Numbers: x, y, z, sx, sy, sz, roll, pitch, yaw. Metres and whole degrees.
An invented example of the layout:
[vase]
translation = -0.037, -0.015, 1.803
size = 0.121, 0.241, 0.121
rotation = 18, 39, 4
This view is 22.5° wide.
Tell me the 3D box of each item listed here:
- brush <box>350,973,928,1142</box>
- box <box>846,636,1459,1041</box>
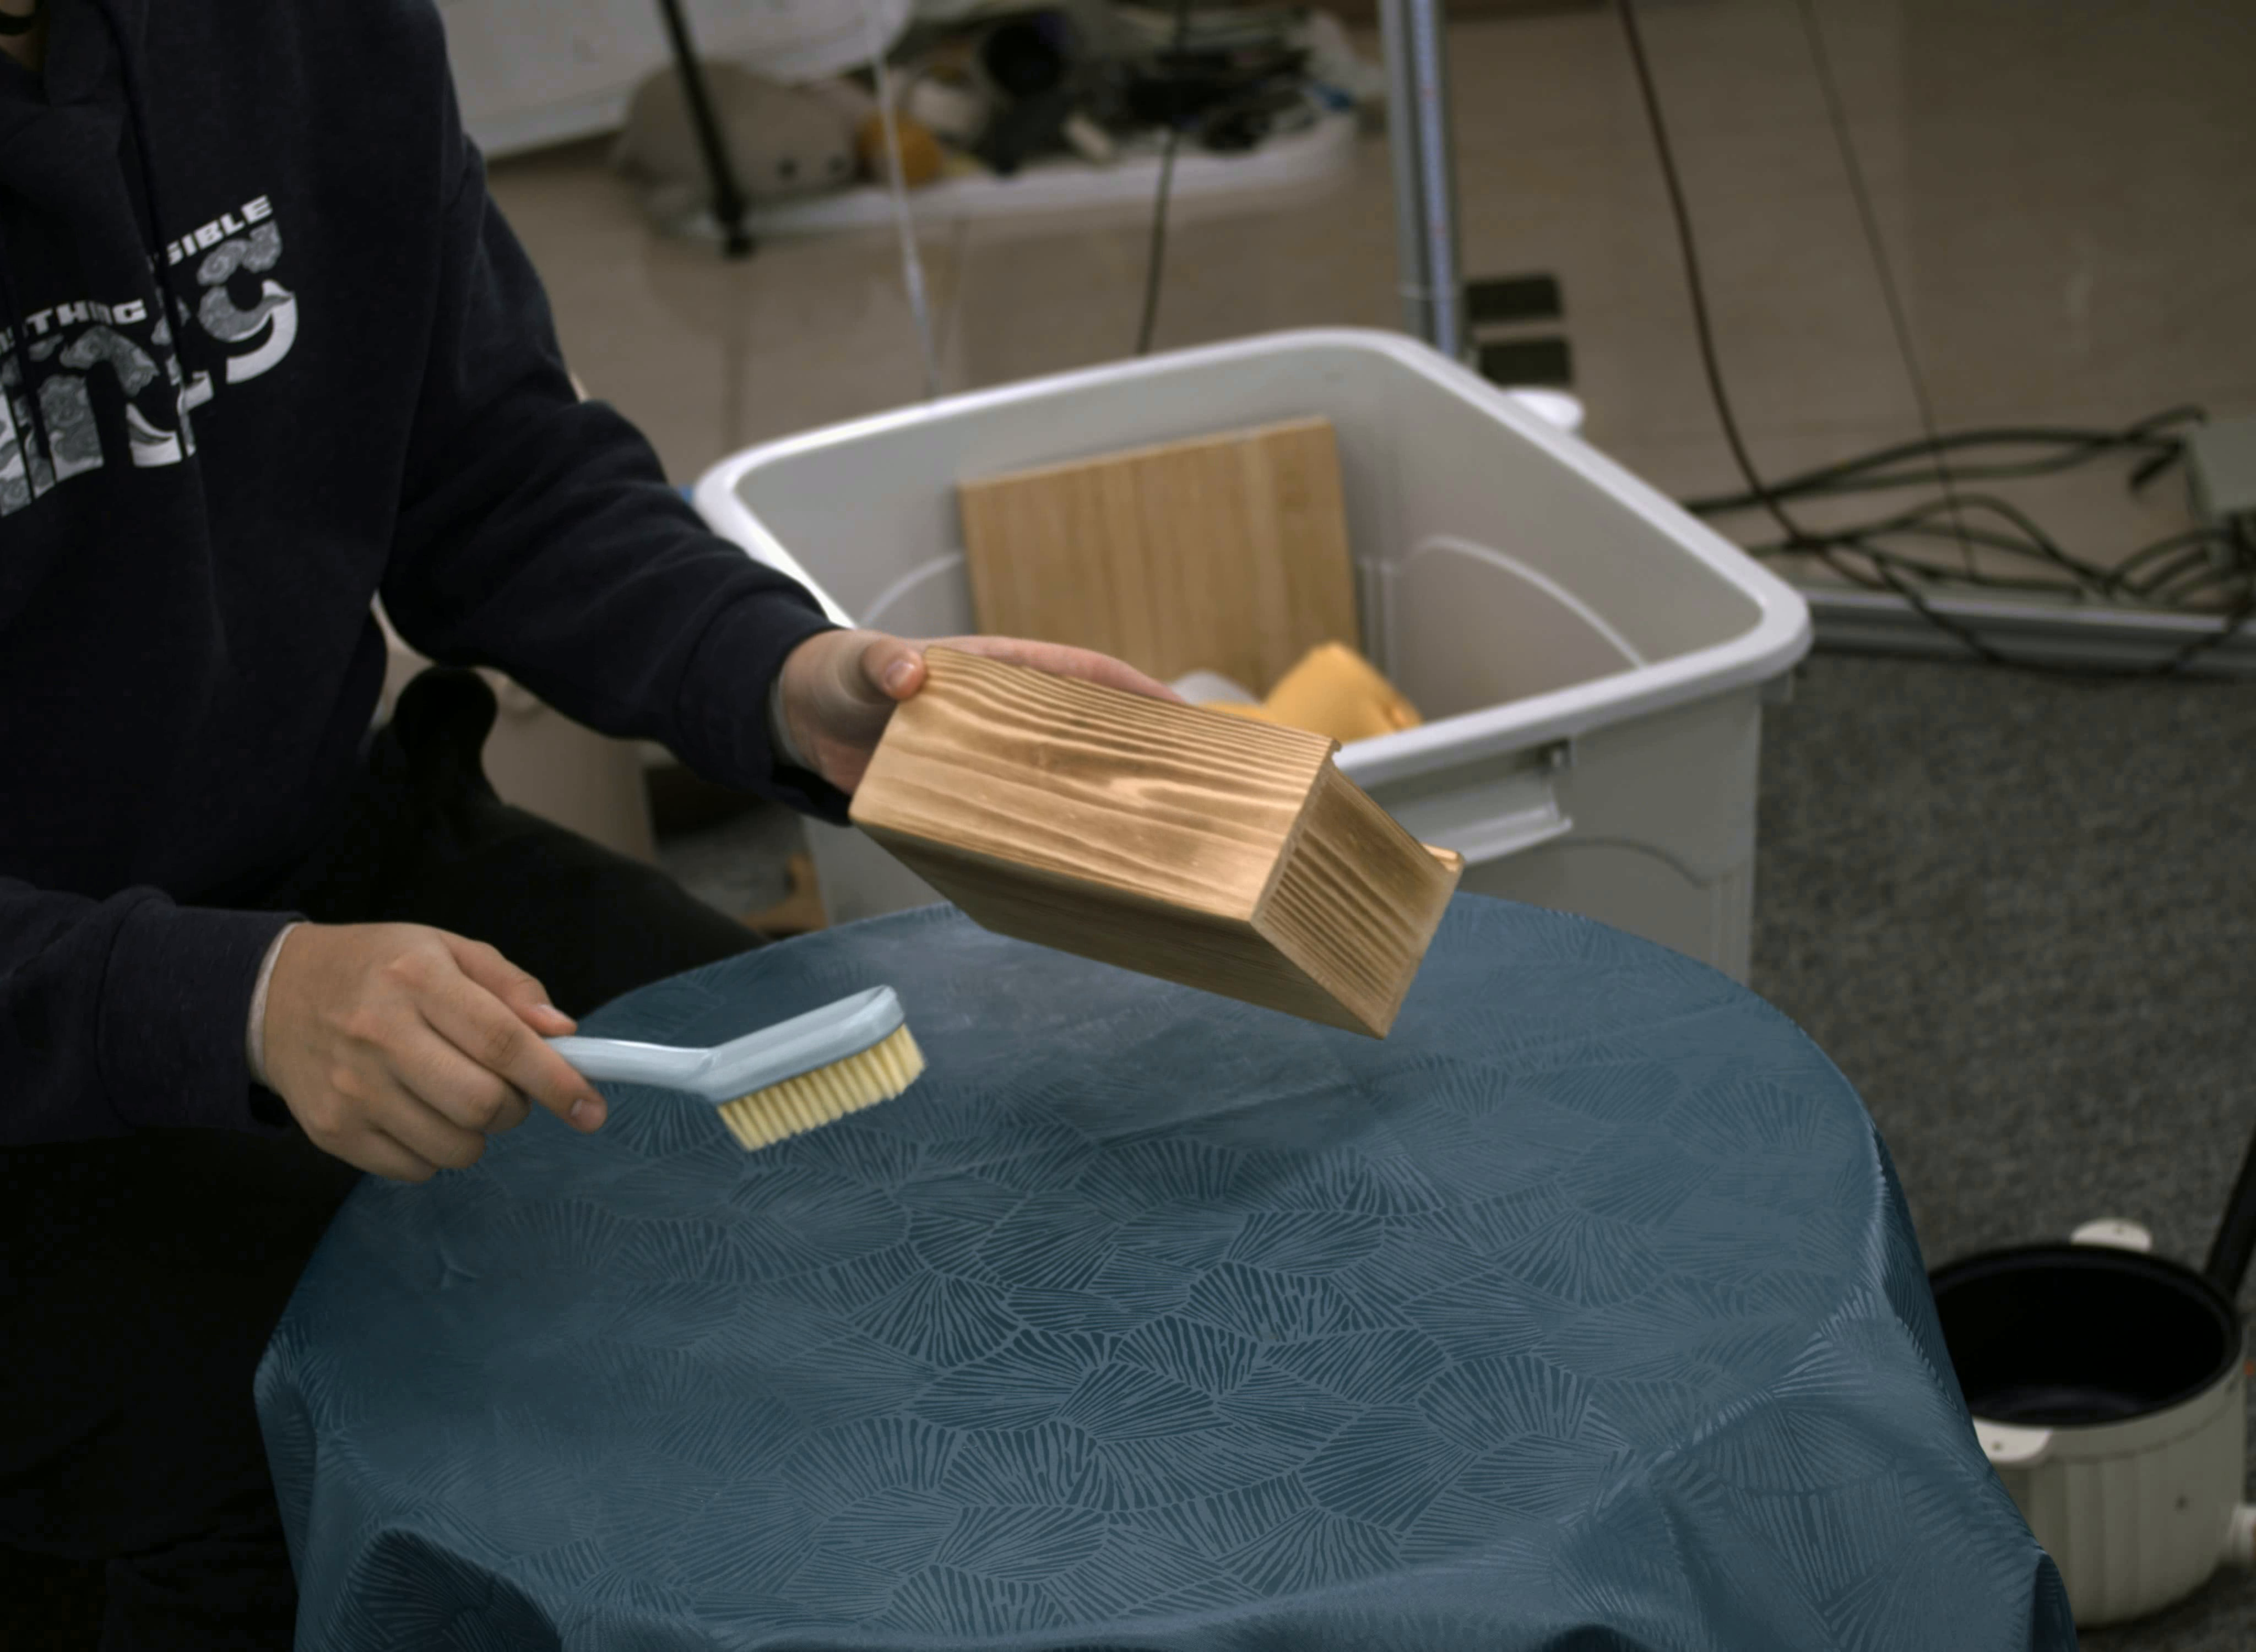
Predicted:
[brush]
translation = -0.179, 0.093, 2.040
size = 0.229, 0.050, 0.037
rotation = -9, 26, 21
[box]
translation = 0.008, 0.003, 2.203
size = 0.210, 0.109, 0.080
rotation = 16, 73, 39
